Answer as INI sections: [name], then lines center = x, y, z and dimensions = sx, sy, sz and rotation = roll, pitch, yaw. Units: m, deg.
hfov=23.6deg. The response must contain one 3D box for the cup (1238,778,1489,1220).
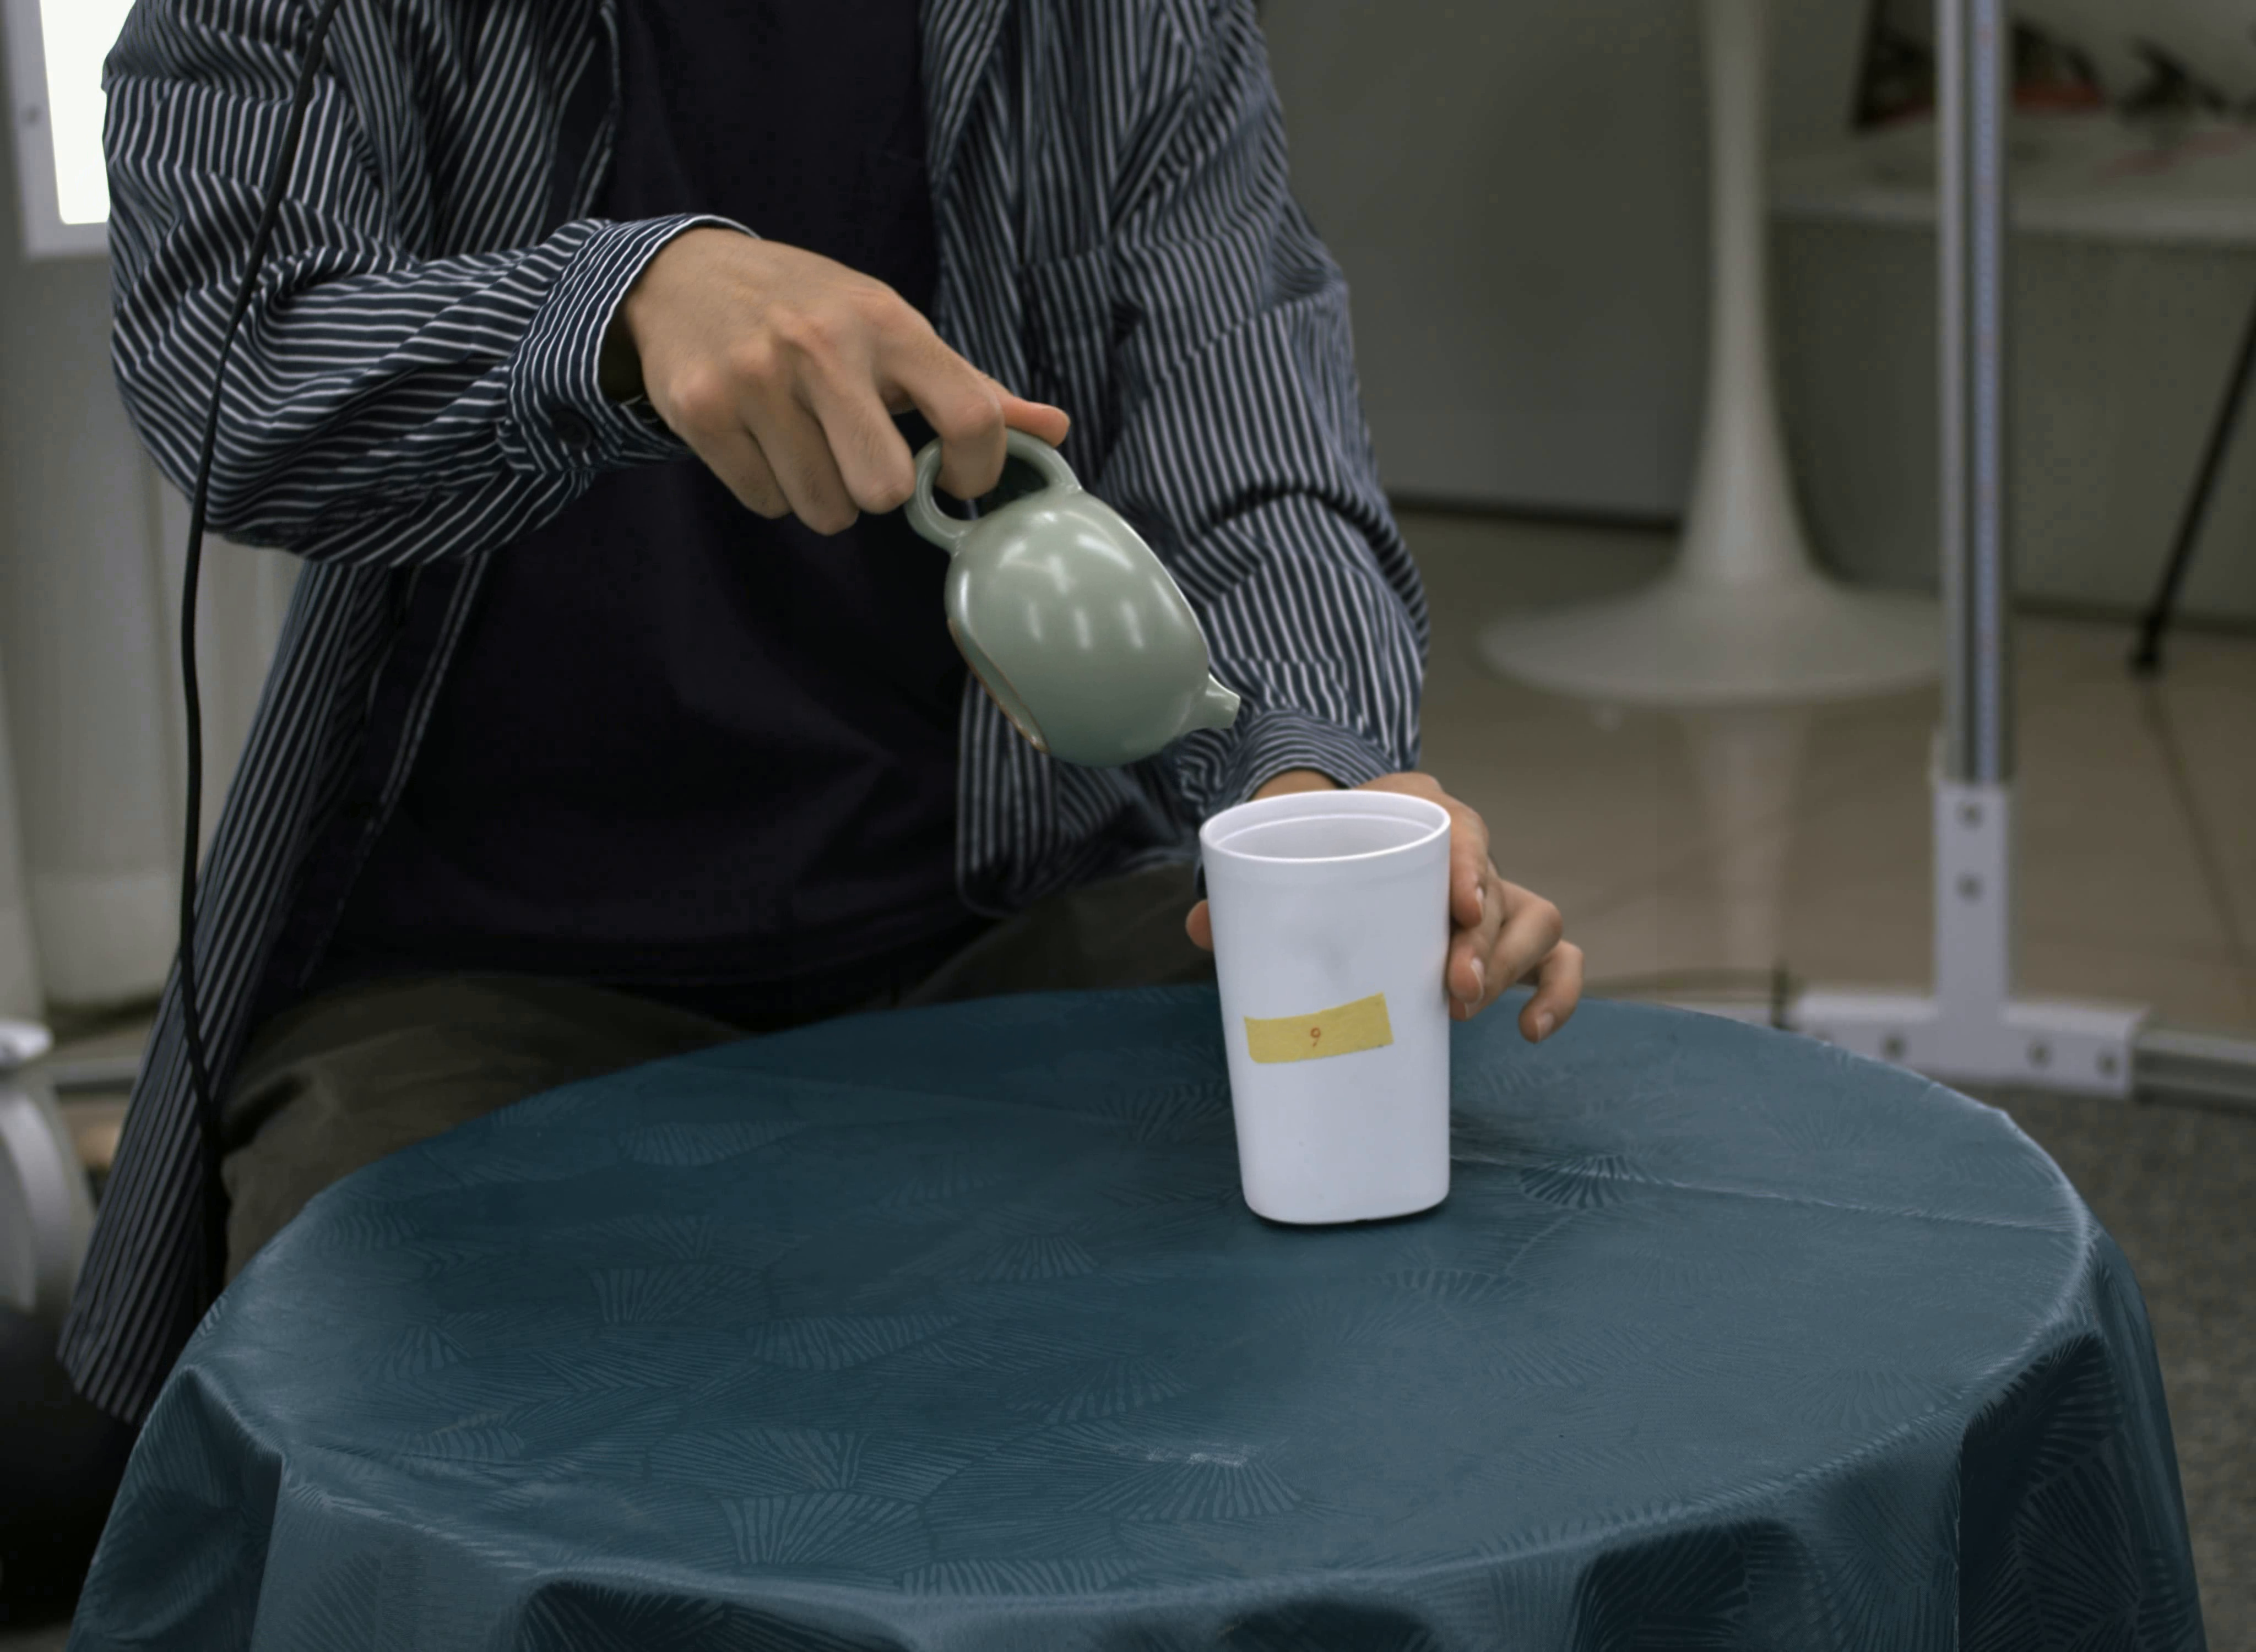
[cup]
center = 0.079, 0.056, 1.726
dimensions = 0.080, 0.127, 0.082
rotation = -4, 14, 0

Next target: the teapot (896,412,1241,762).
[teapot]
center = -0.023, -0.071, 1.668
dimensions = 0.060, 0.129, 0.092
rotation = -38, 0, -6
